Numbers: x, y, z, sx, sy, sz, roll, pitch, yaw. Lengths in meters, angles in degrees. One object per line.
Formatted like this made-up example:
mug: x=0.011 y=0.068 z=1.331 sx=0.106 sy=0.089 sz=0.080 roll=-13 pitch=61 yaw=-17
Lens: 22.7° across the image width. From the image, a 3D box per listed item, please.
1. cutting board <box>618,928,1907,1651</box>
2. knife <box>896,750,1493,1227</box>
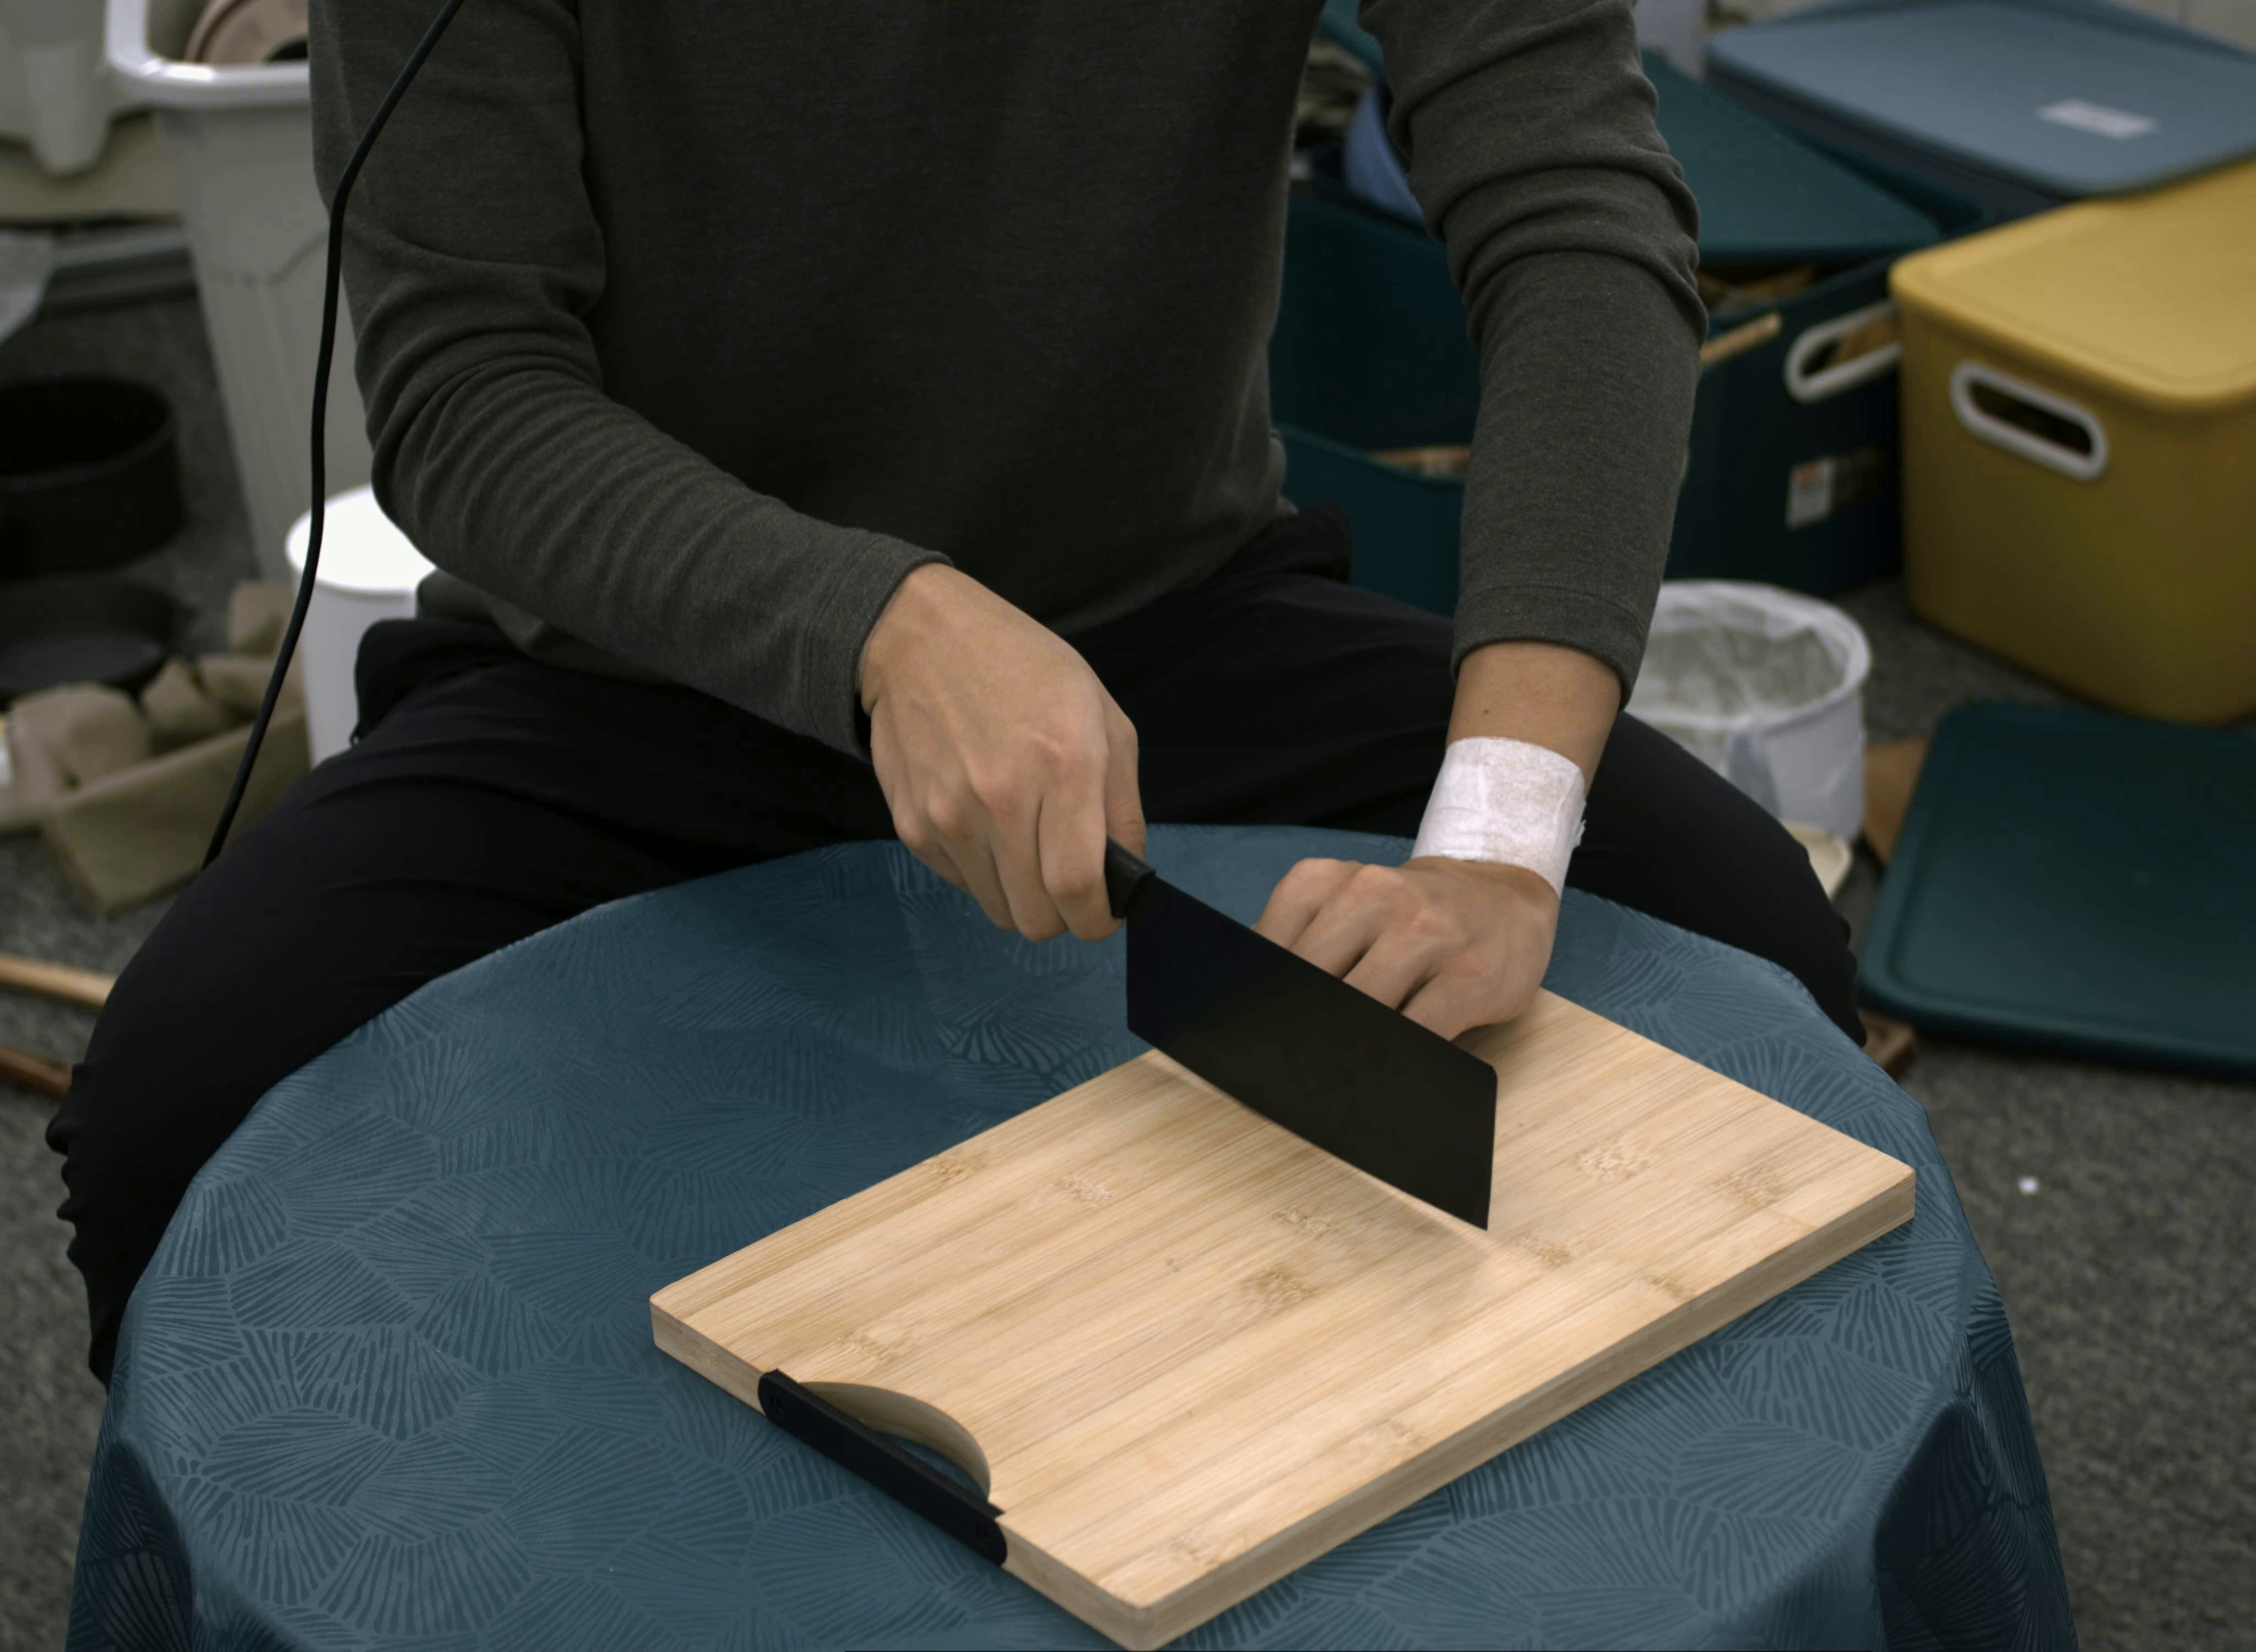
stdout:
cutting board: x=0.047 y=0.141 z=1.803 sx=0.352 sy=0.023 sz=0.250 roll=-25 pitch=34 yaw=-36
knife: x=0.019 y=0.048 z=1.876 sx=0.021 sy=0.080 sz=0.303 roll=-18 pitch=36 yaw=-36
